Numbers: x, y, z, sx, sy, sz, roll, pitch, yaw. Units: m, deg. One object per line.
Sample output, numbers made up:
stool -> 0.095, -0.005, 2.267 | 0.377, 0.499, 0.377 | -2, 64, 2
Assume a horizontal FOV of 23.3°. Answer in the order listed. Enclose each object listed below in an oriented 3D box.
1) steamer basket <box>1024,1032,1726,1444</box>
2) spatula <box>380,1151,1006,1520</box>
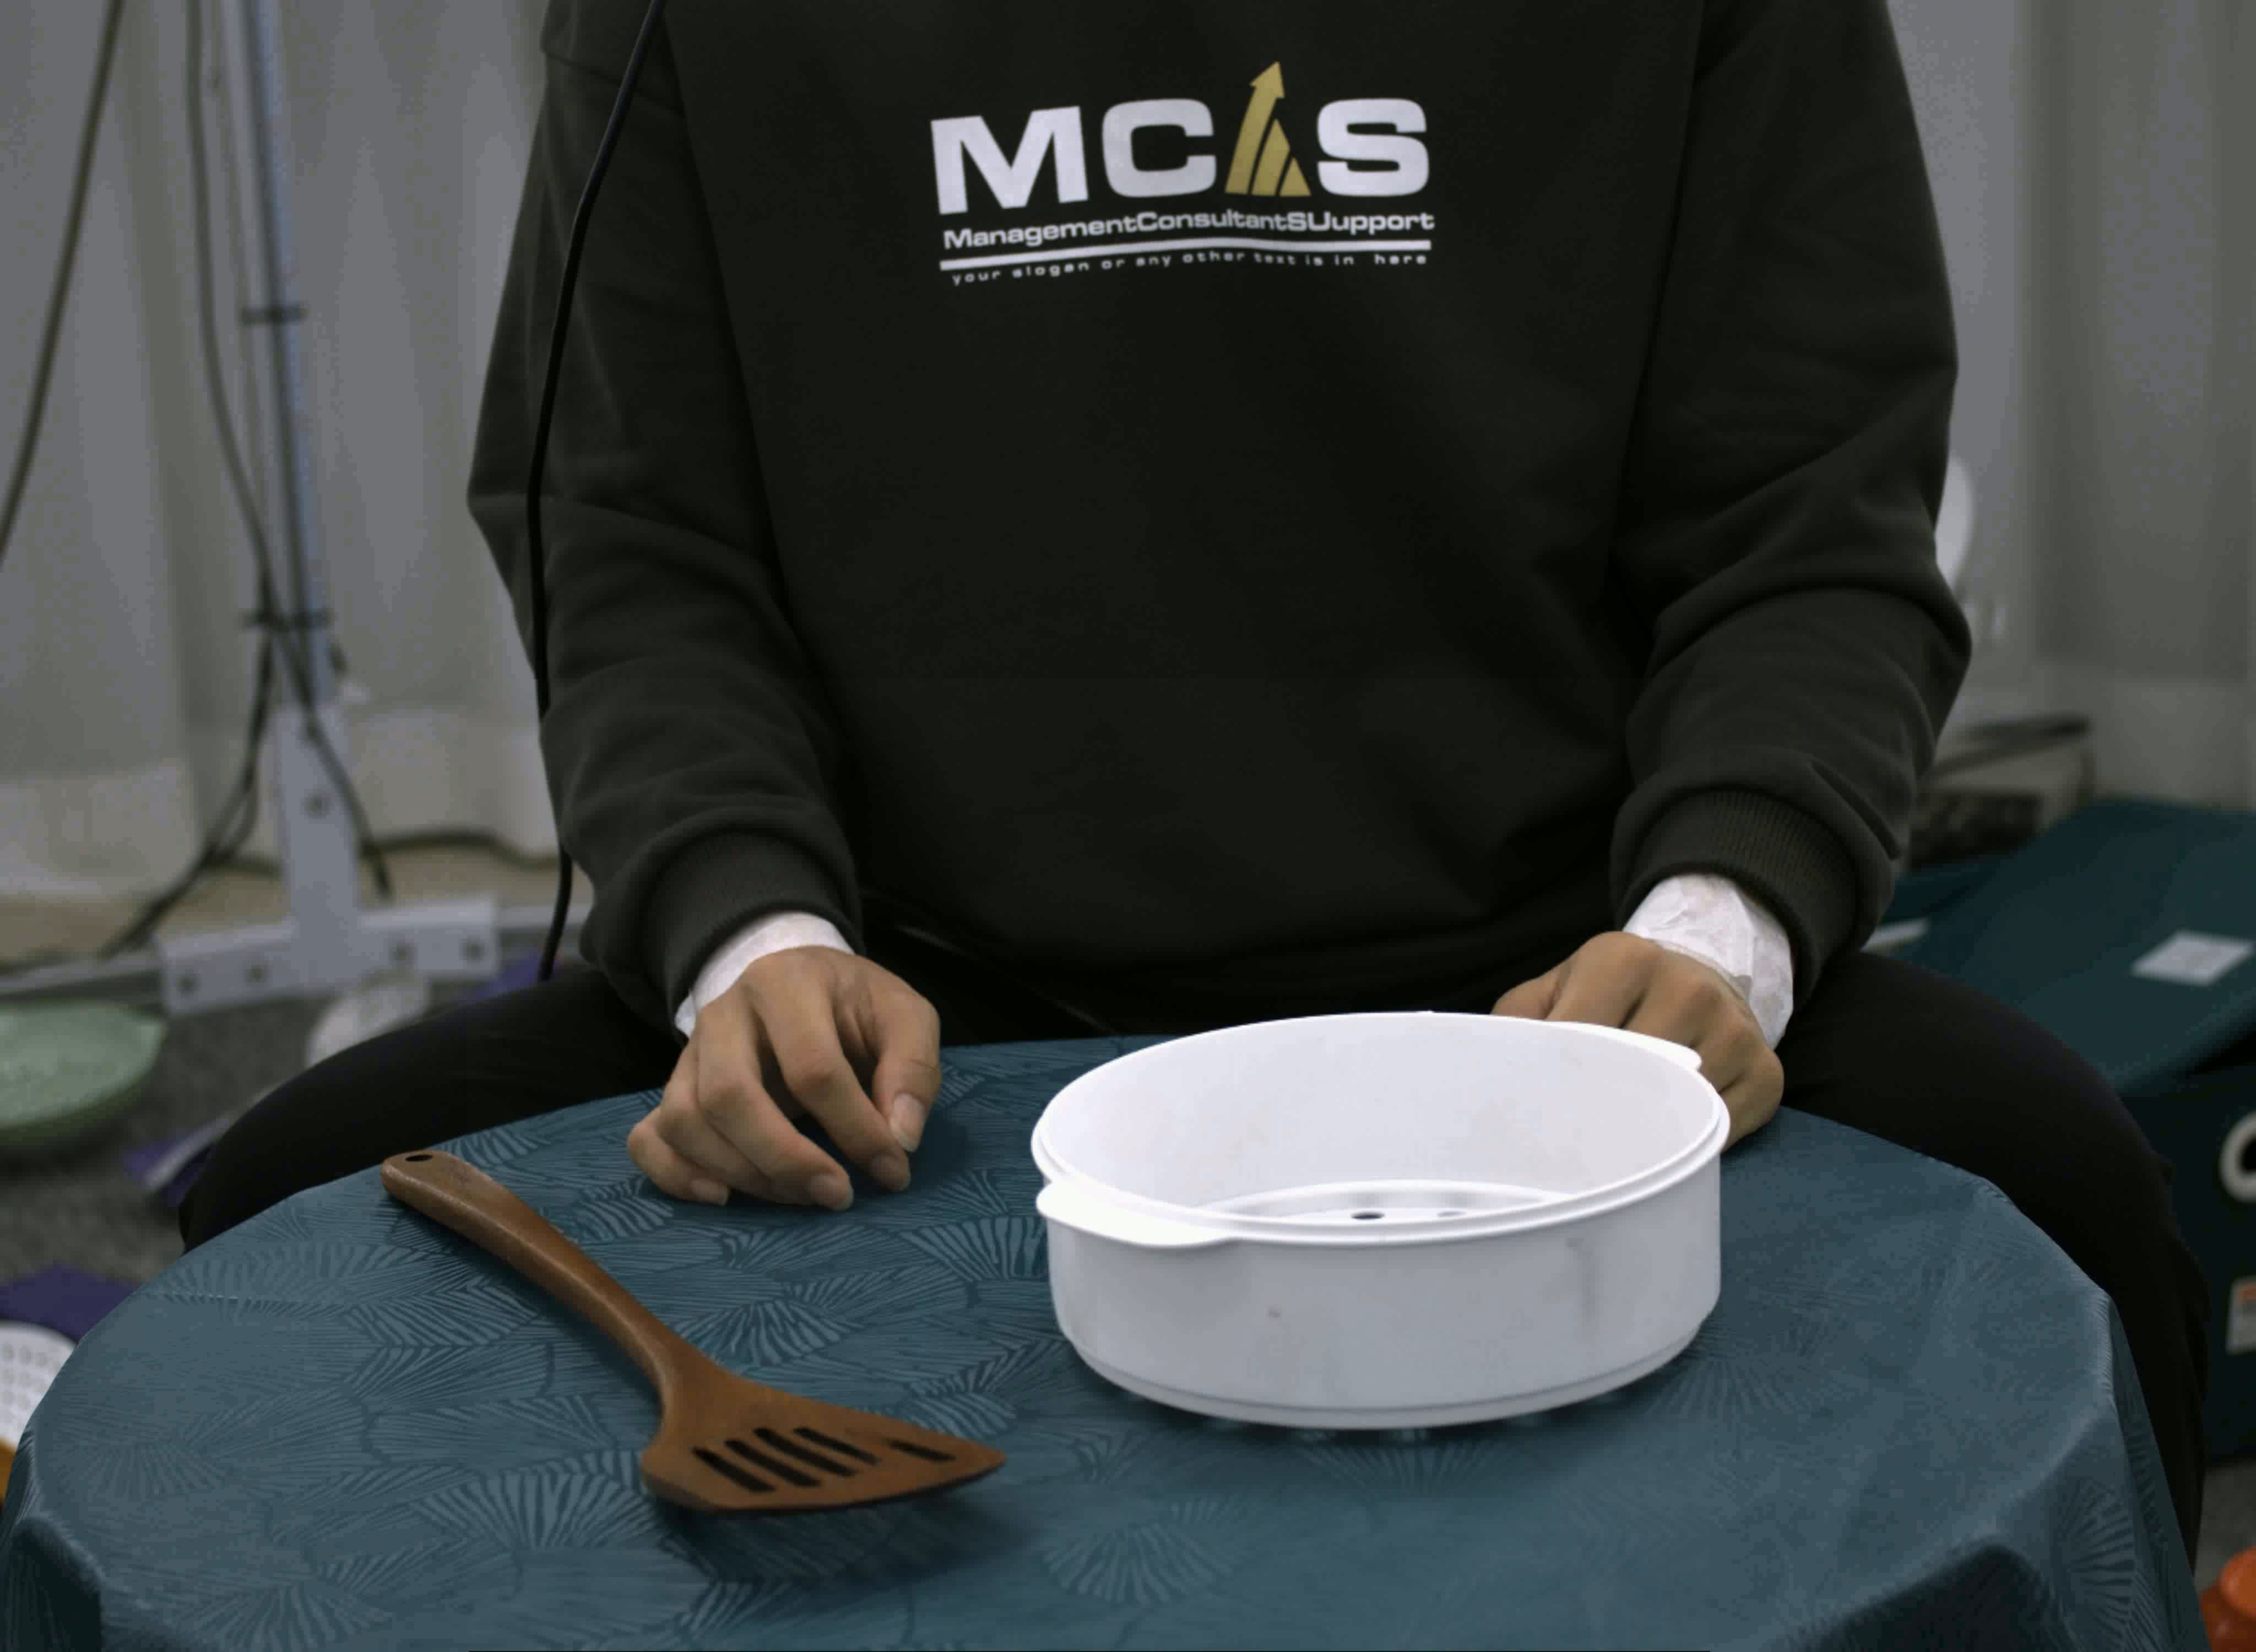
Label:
steamer basket -> 0.070, 0.118, 1.573 | 0.230, 0.069, 0.203 | -11, 18, -41
spatula -> -0.149, 0.146, 1.587 | 0.085, 0.023, 0.388 | -7, 14, -25
